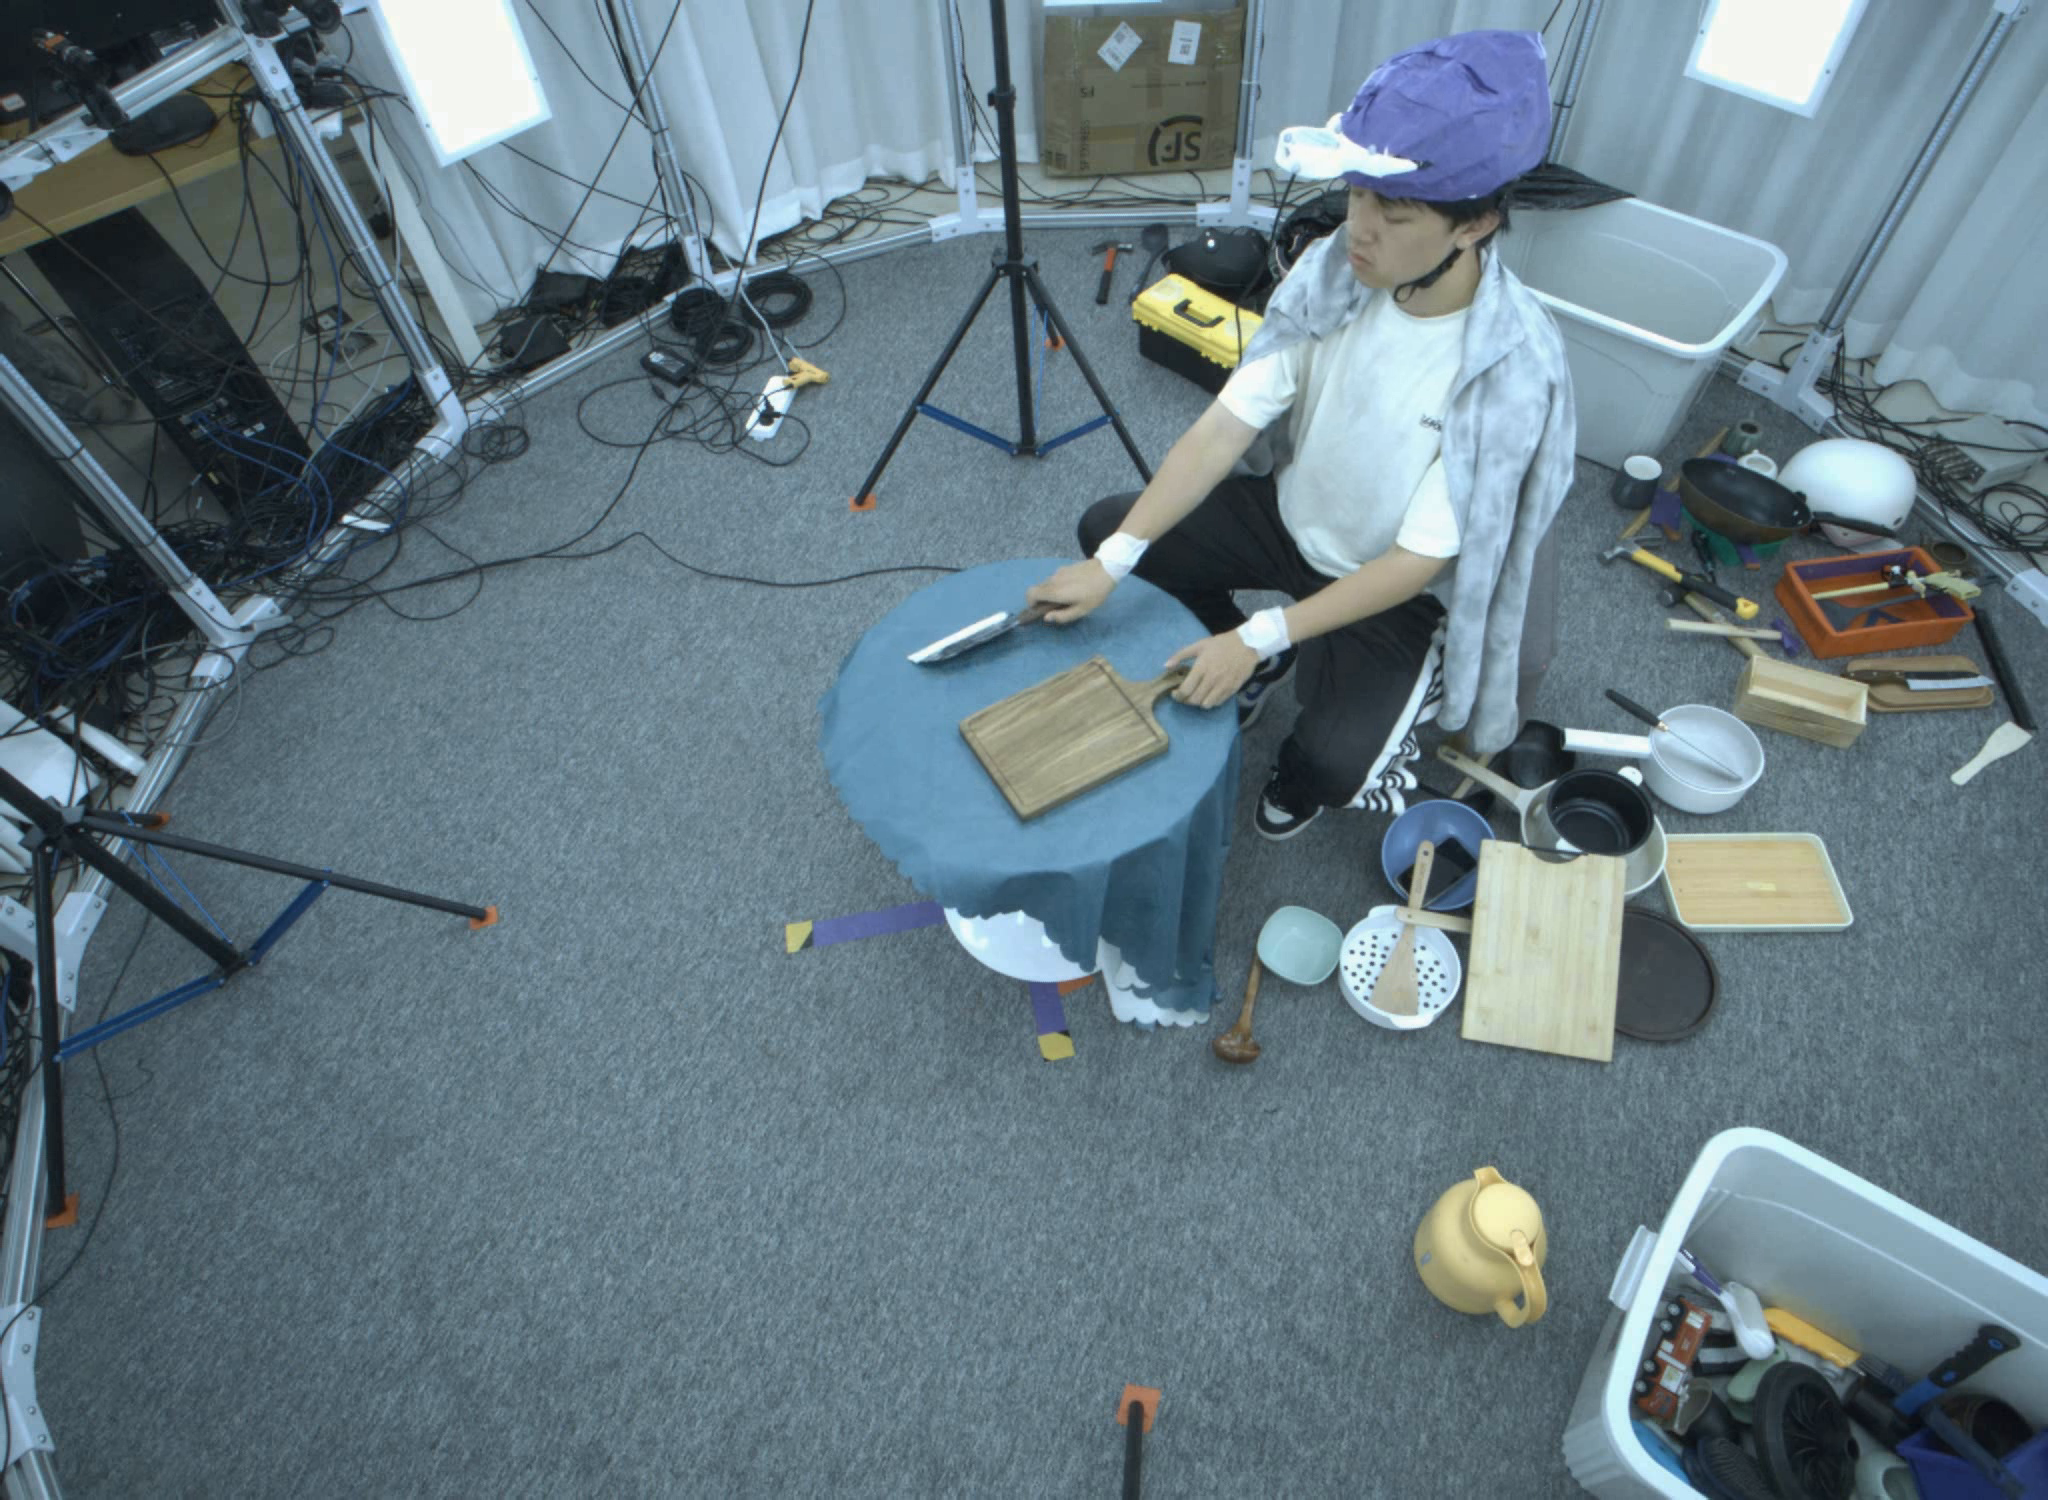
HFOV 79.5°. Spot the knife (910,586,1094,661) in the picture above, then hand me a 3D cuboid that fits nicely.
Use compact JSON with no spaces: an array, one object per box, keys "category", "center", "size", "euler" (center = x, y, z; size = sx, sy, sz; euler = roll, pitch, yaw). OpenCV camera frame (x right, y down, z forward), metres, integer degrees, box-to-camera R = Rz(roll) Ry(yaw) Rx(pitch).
[{"category":"knife","center":[-0.036,-0.195,1.904],"size":[0.301,0.024,0.066],"euler":[-24,34,-10]}]

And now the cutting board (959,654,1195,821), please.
[{"category":"cutting board","center":[0.102,-0.044,1.805],"size":[0.355,0.023,0.197],"euler":[-26,58,-16]}]
